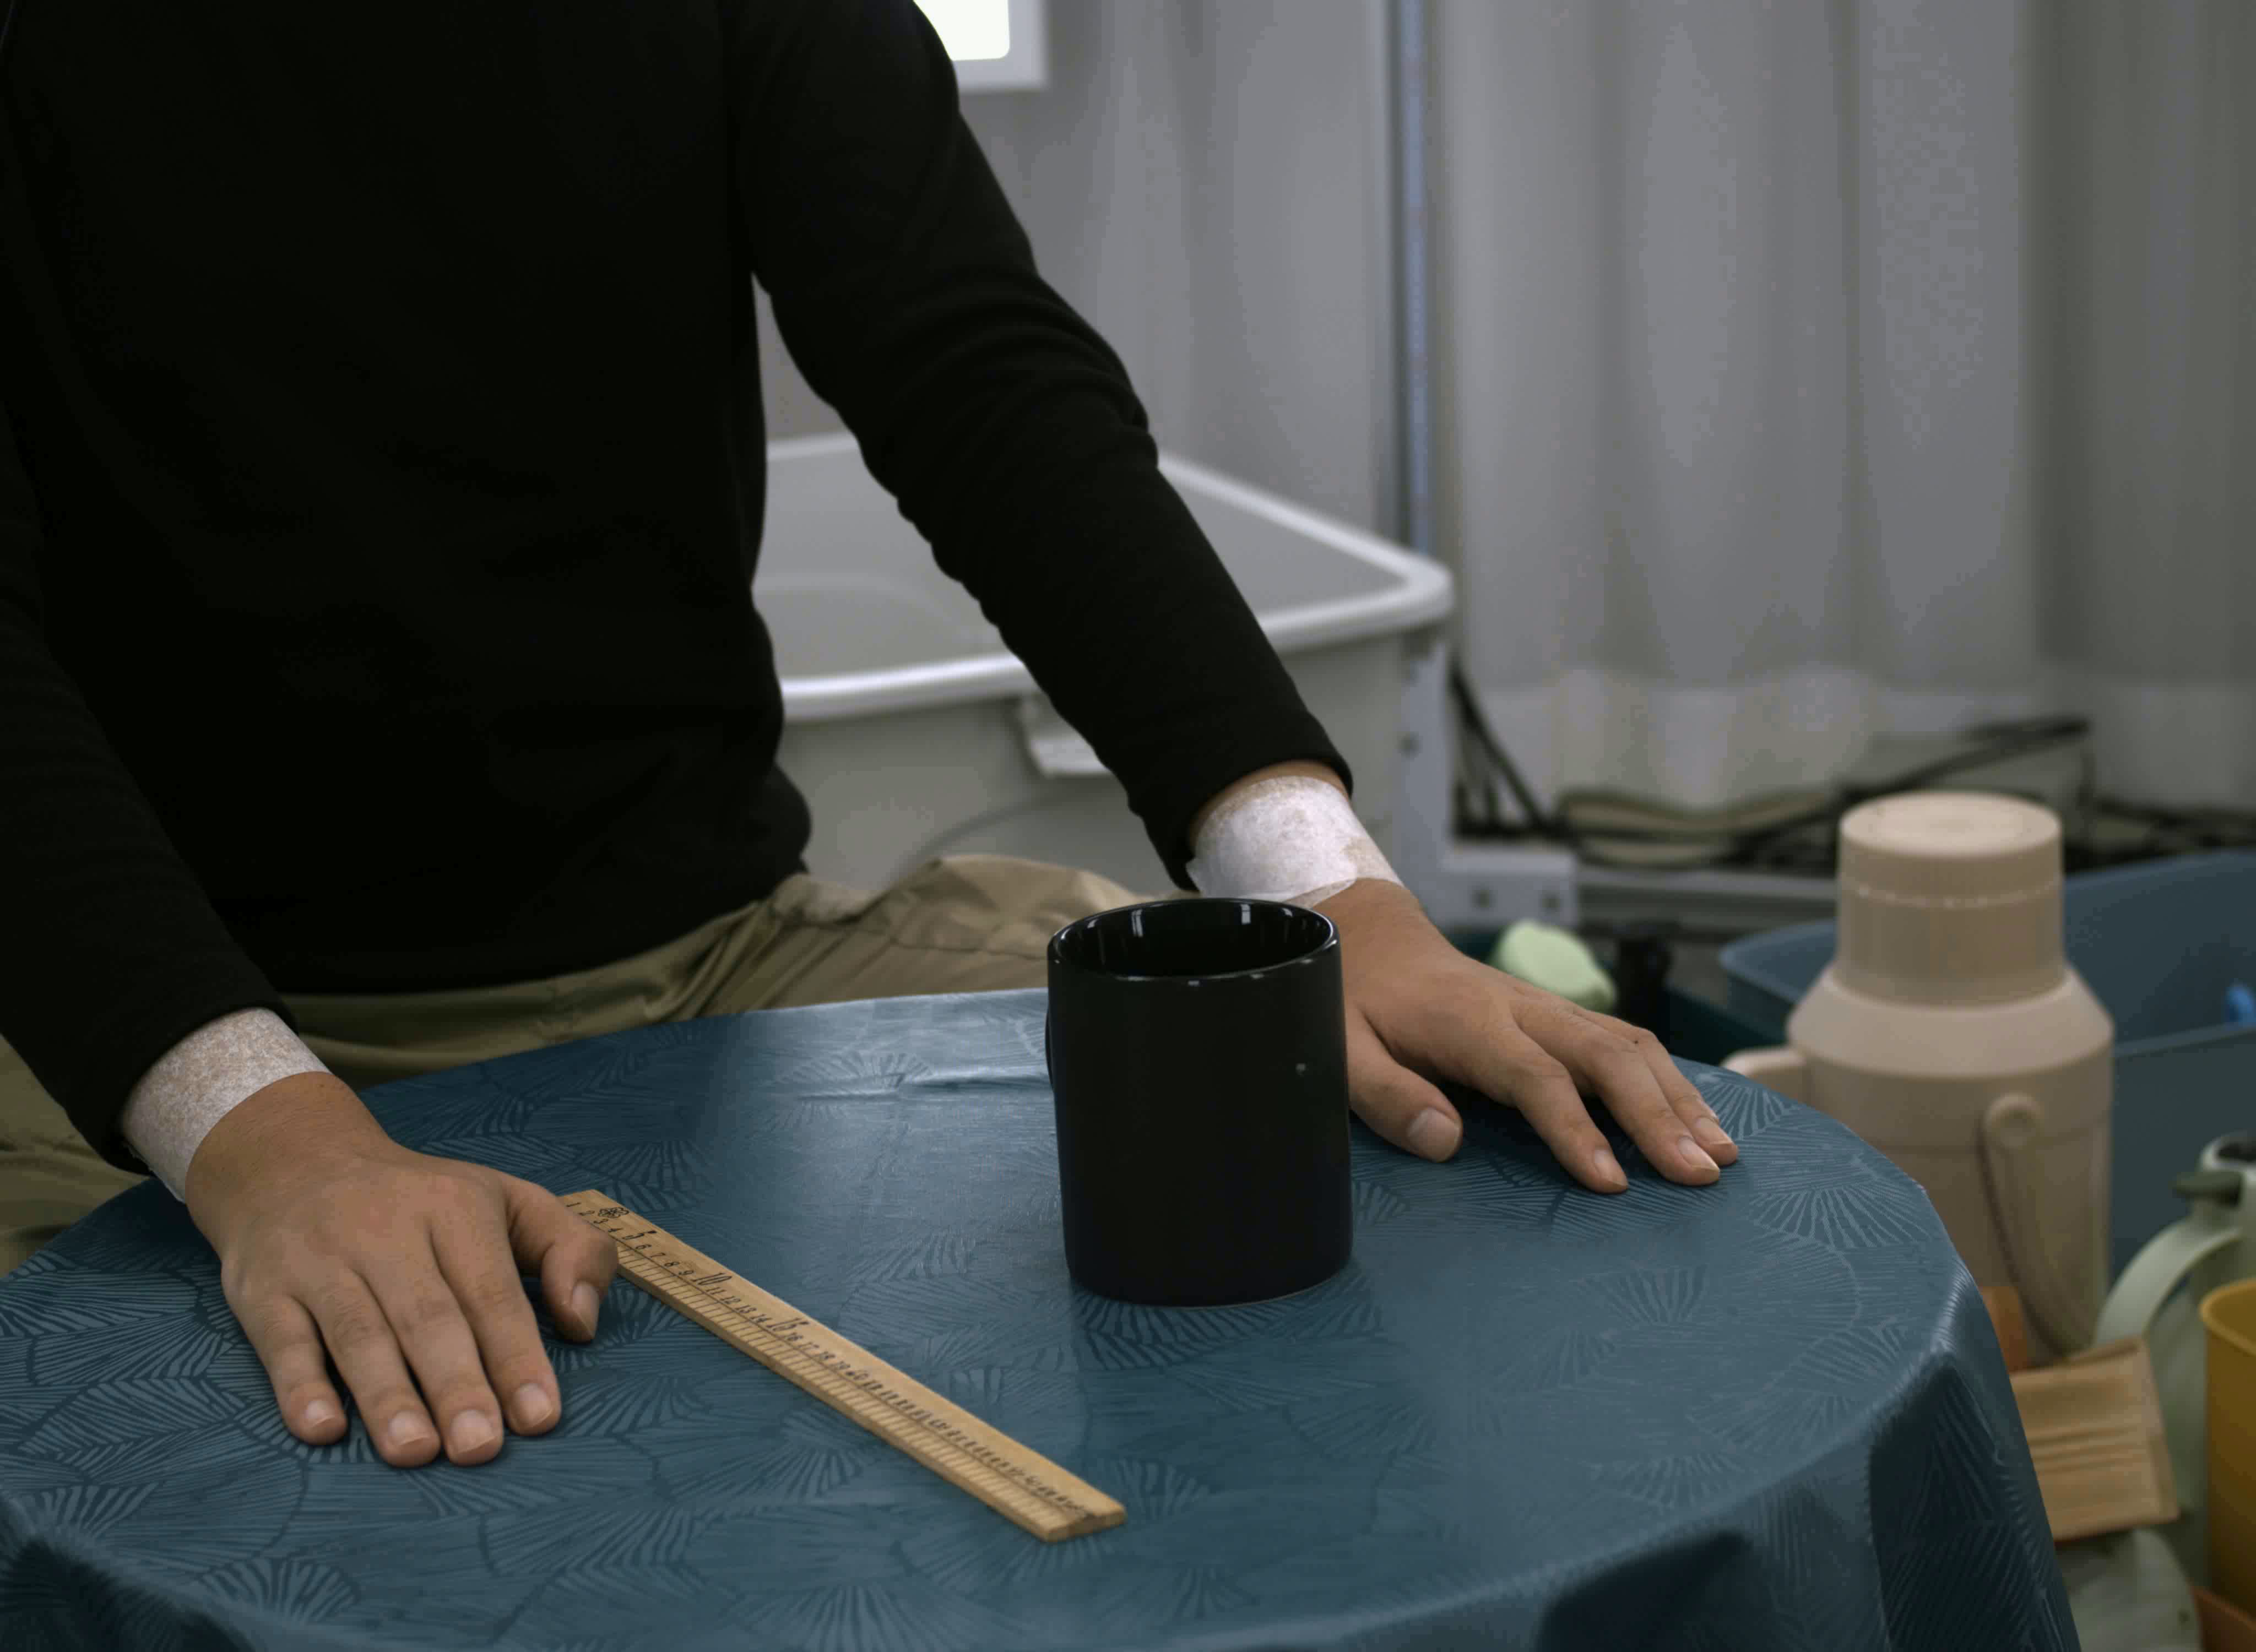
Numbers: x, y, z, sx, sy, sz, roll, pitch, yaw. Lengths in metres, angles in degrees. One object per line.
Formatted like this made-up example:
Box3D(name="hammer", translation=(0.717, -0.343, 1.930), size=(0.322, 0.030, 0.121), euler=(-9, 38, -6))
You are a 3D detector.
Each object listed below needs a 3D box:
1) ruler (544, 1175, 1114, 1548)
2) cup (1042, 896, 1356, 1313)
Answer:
Box3D(name="ruler", translation=(-0.094, 0.149, 1.584), size=(0.027, 0.022, 0.334), euler=(-5, 15, -28))
Box3D(name="cup", translation=(0.013, 0.079, 1.649), size=(0.088, 0.105, 0.124), euler=(-13, 16, -28))
